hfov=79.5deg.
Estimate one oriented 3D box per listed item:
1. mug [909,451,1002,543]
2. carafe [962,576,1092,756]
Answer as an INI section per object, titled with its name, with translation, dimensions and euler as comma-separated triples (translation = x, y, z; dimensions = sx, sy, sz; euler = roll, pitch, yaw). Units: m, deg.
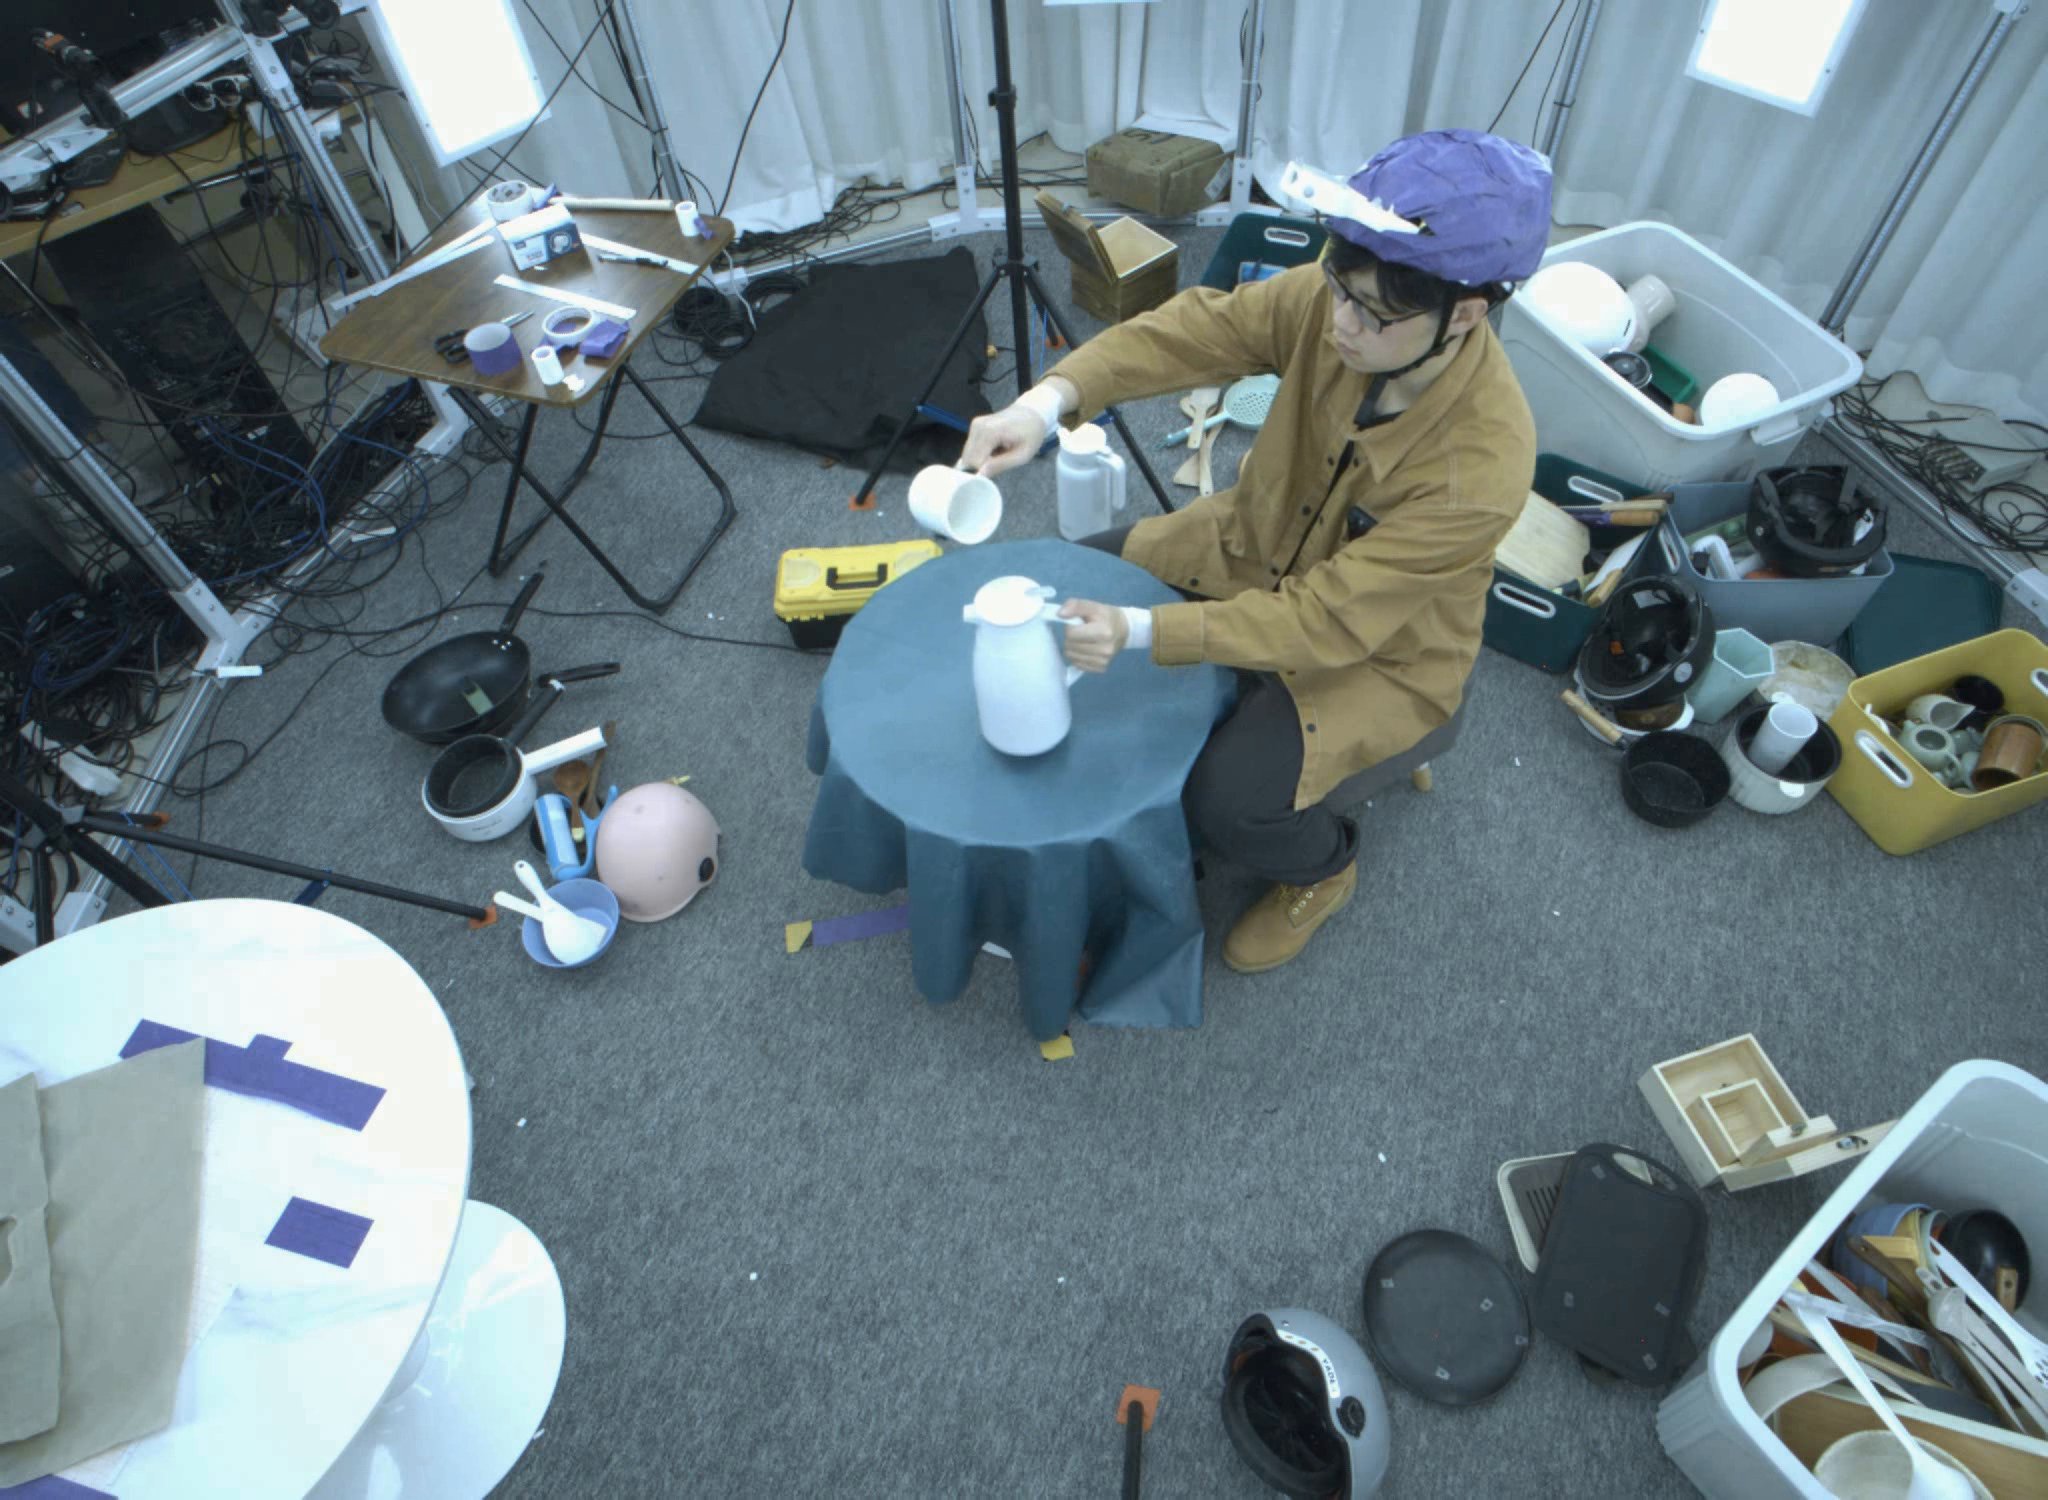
[mug]
translation = -0.085, -0.335, 1.579
dimensions = 0.099, 0.087, 0.118
euler = 30, 97, 48
[carafe]
translation = 0.010, -0.123, 1.675
dimensions = 0.168, 0.252, 0.131
euler = -6, 50, 1
